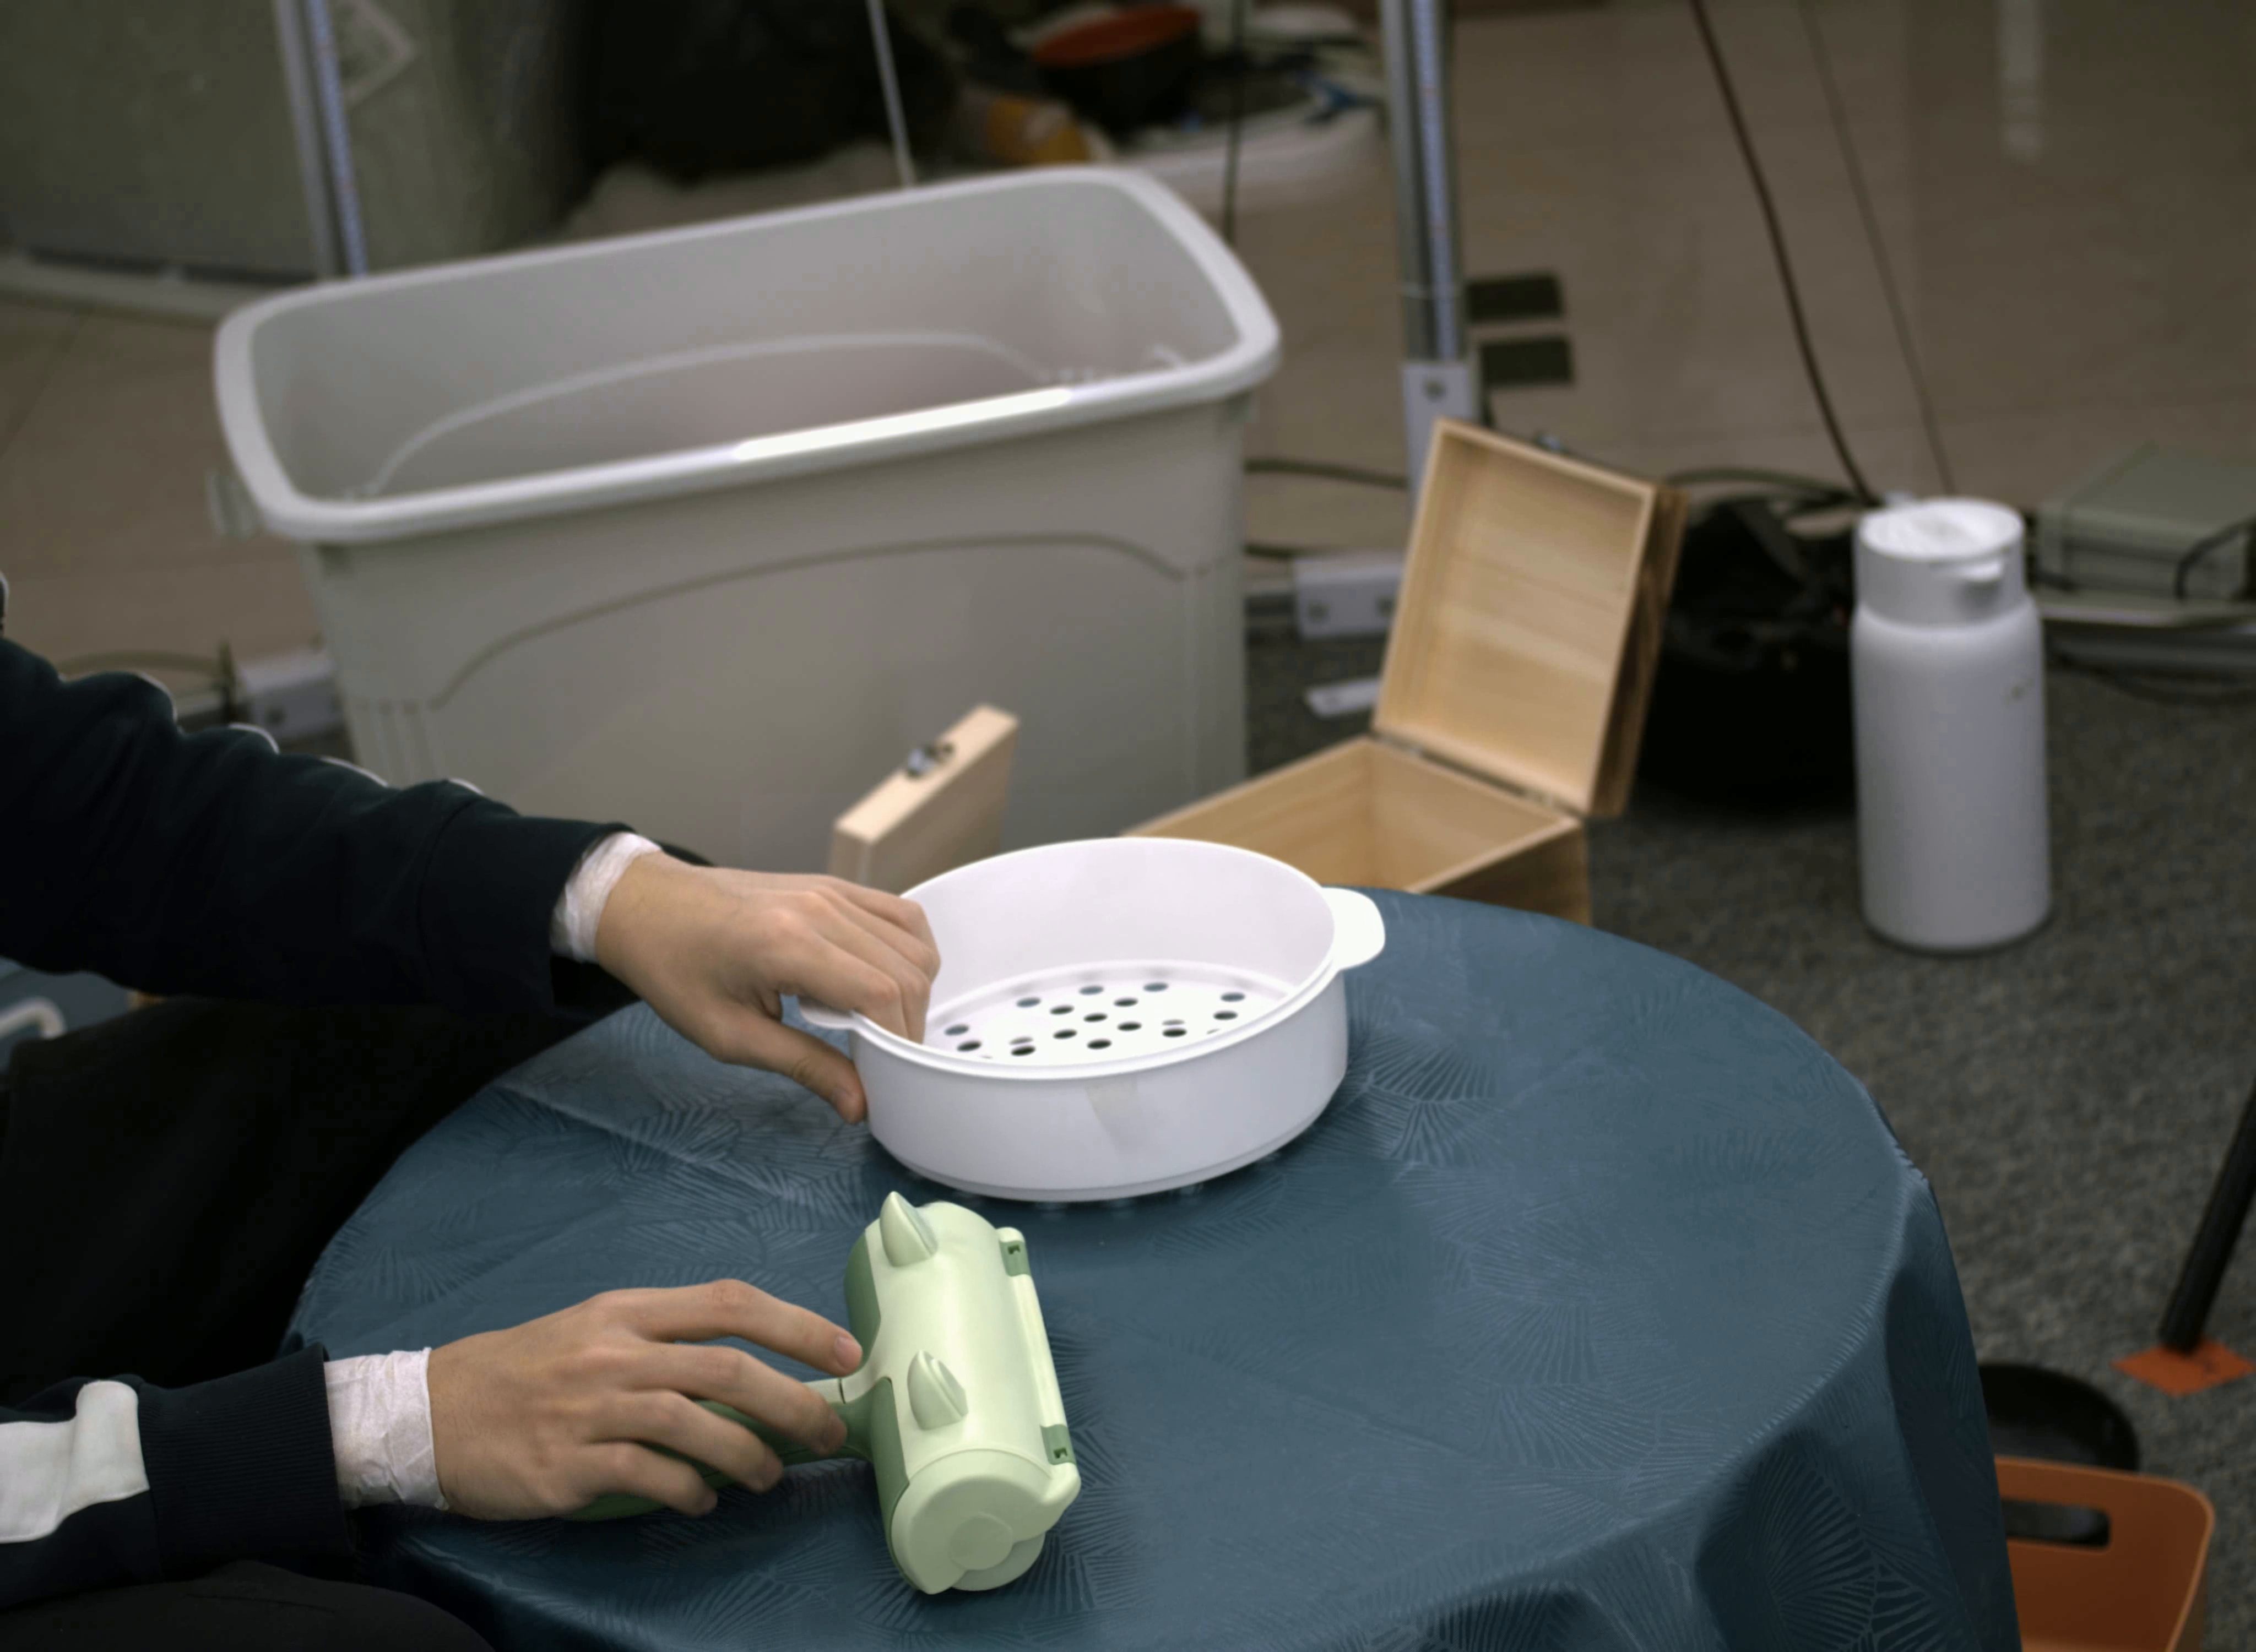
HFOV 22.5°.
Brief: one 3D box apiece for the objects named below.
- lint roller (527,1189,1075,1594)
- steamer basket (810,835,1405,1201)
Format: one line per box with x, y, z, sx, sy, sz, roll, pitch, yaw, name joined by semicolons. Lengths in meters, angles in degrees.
-0.118;0.193;1.964;0.183;0.083;0.196;-4;25;-6;lint roller
-0.006;0.075;2.200;0.230;0.070;0.199;-5;26;-2;steamer basket
